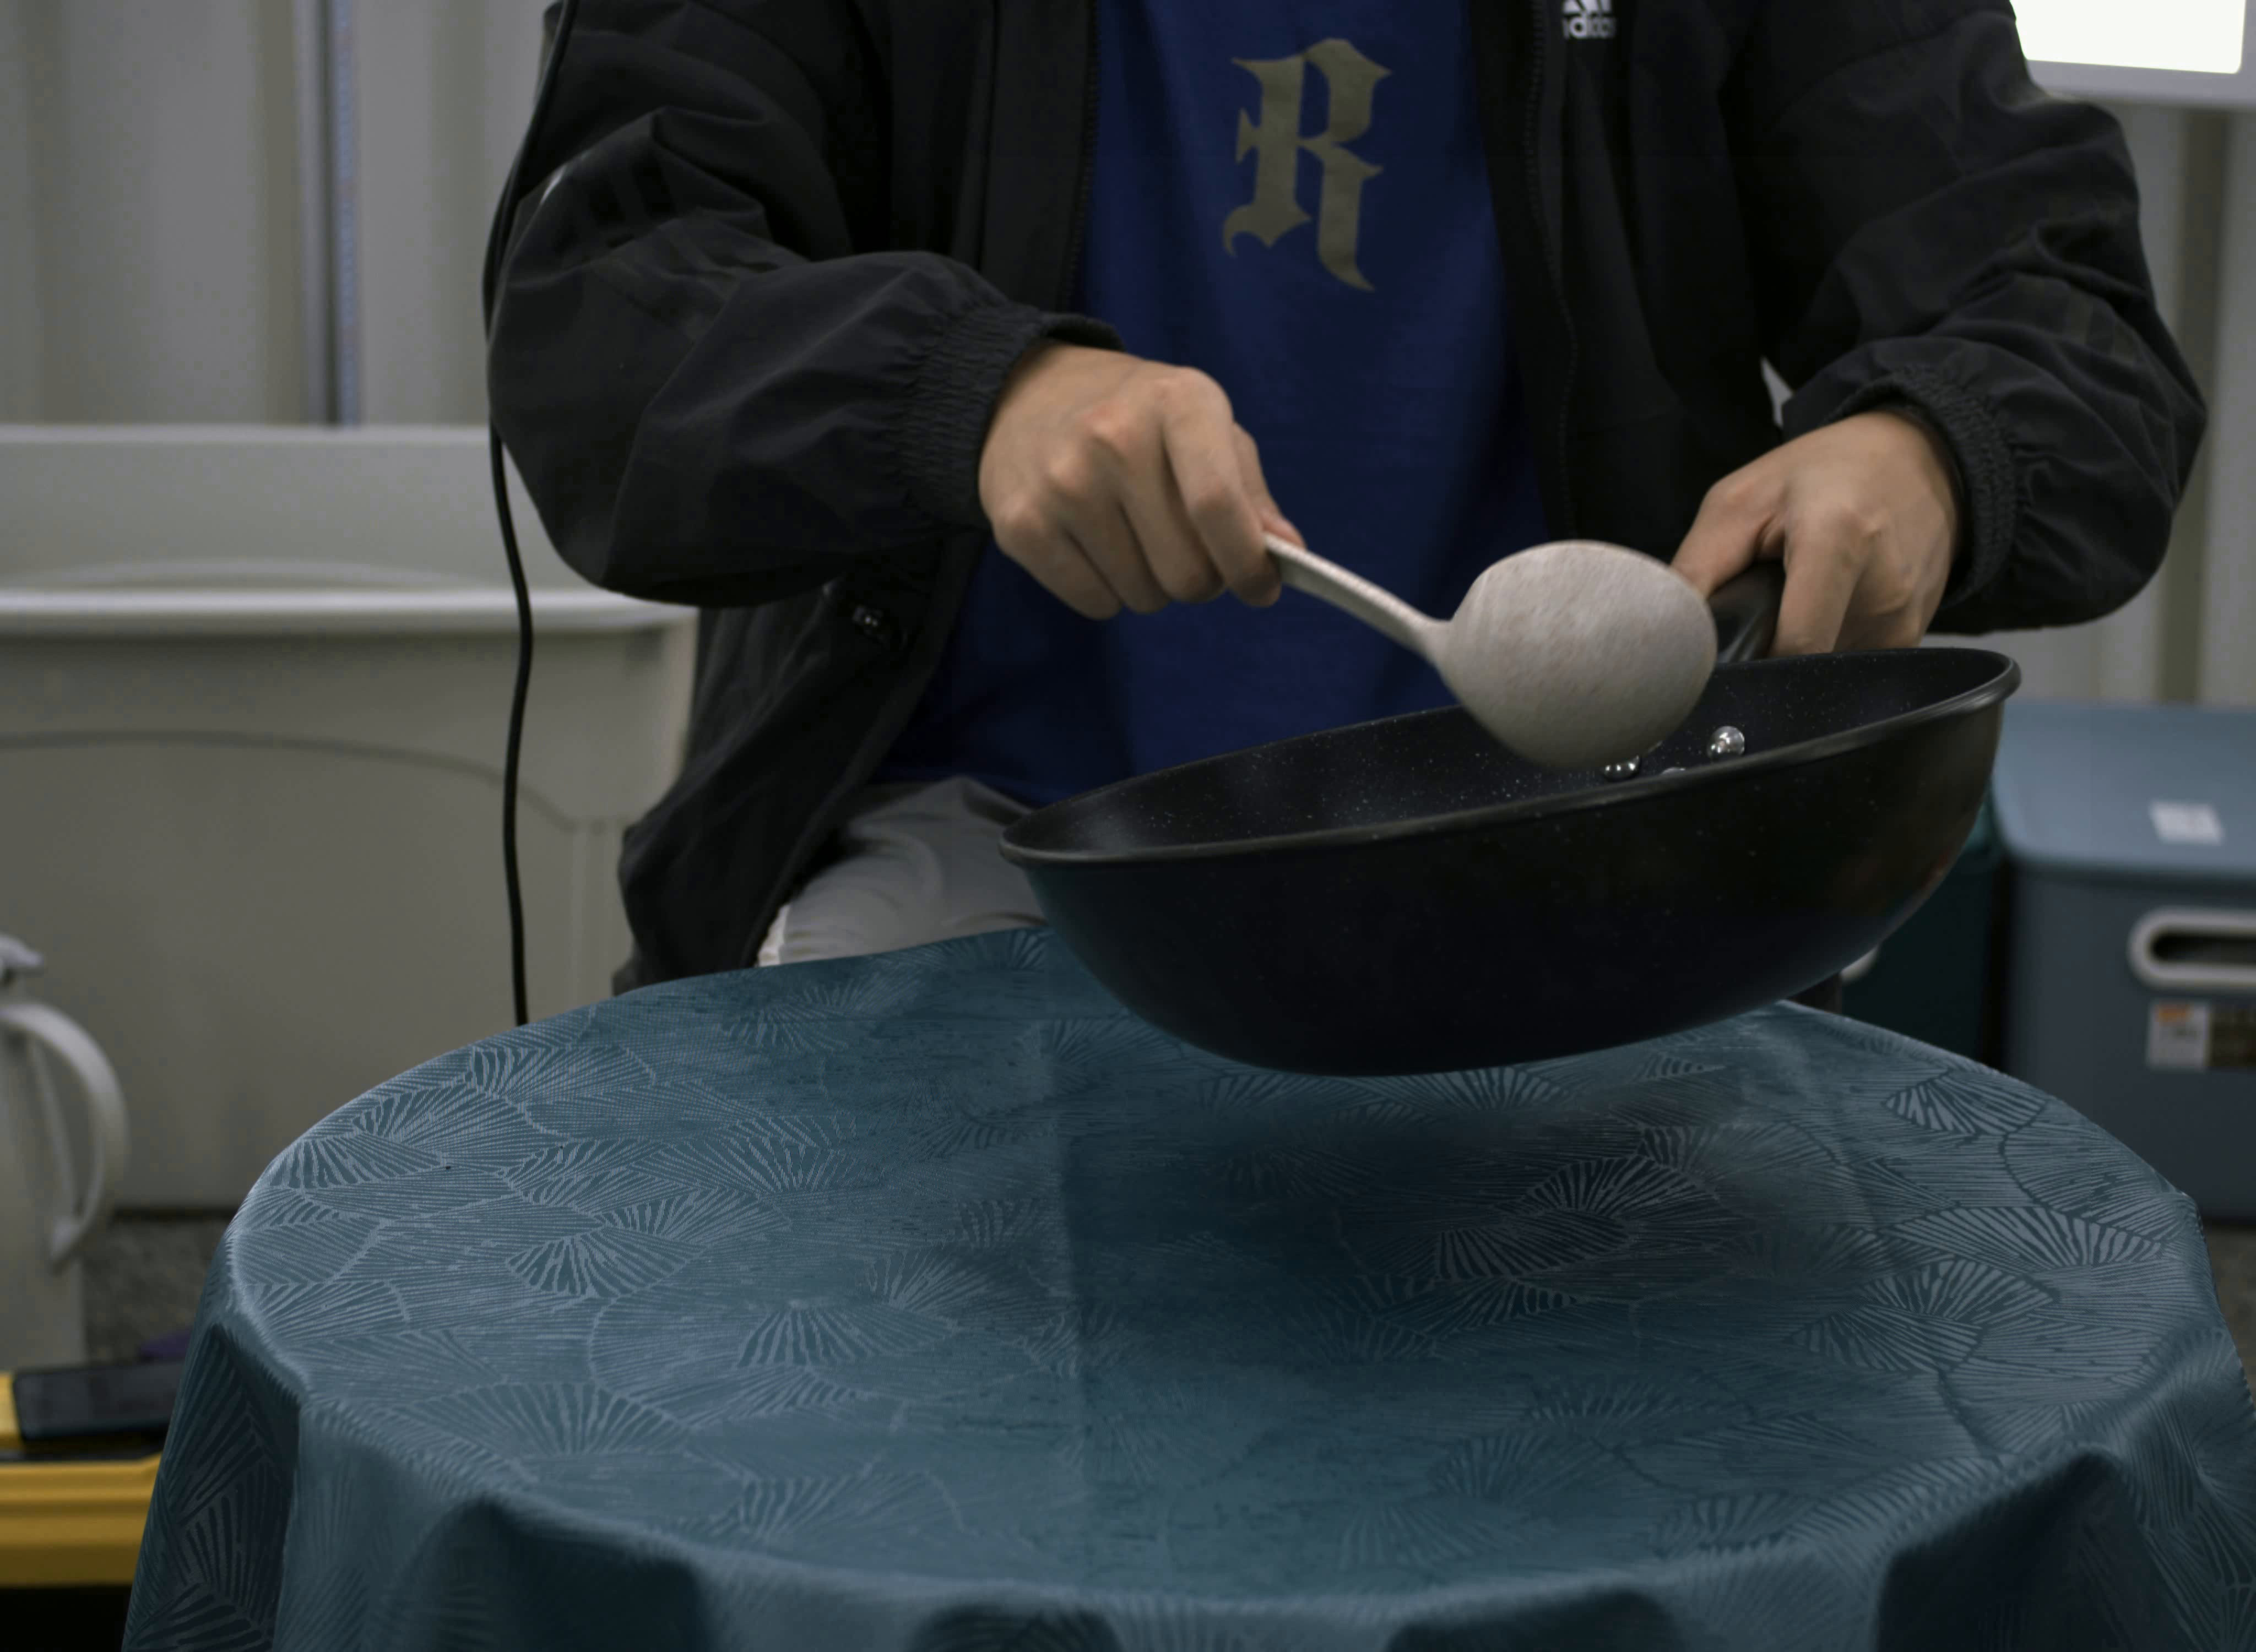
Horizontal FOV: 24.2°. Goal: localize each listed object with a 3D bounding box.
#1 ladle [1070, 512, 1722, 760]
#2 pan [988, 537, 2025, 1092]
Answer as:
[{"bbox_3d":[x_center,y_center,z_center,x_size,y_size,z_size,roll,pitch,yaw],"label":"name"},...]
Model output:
[{"bbox_3d":[0.081,-0.081,1.710,0.069,0.090,0.271,-44,33,-18],"label":"ladle"},{"bbox_3d":[0.150,-0.006,1.643,0.307,0.112,0.478,-5,8,25],"label":"pan"}]
